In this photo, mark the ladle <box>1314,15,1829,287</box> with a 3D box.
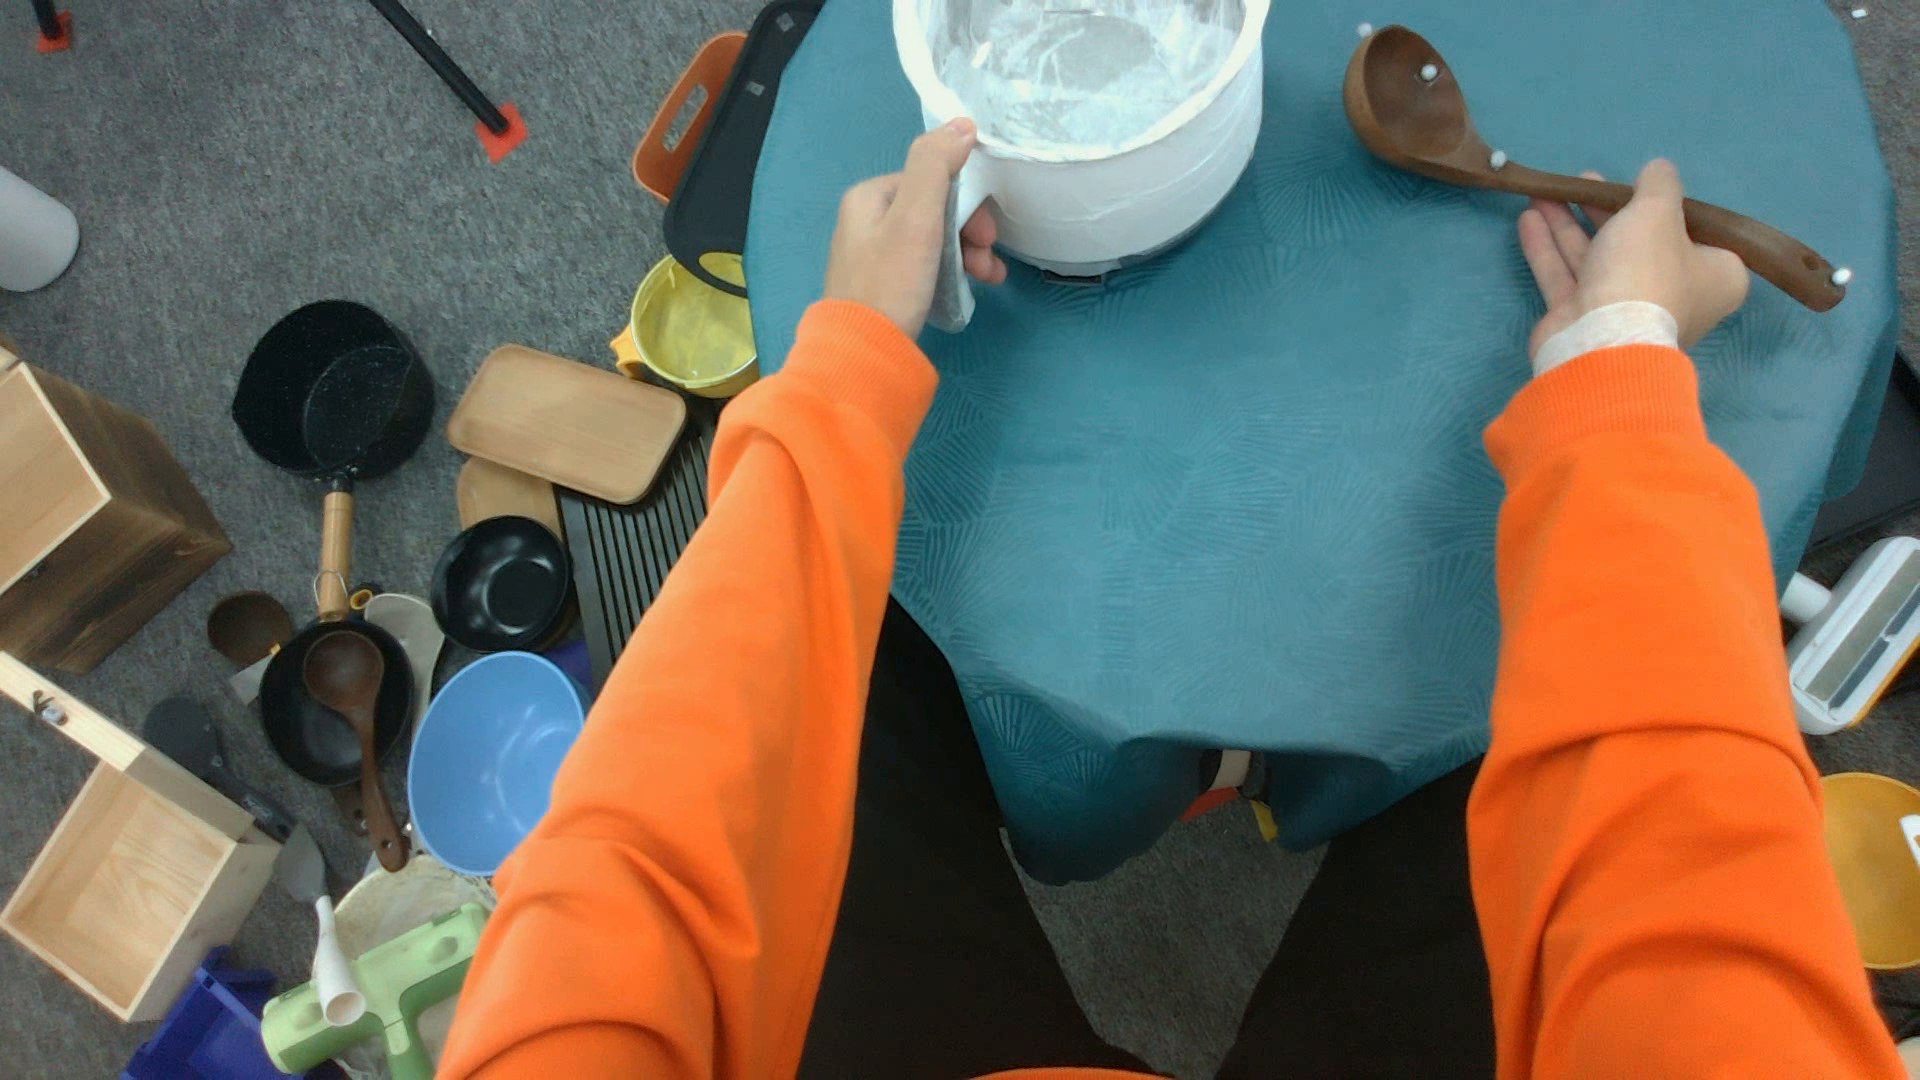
[{"bbox_3d":[0.297,-0.193,0.679,0.260,0.065,0.077,28,66,26],"label":"ladle"}]

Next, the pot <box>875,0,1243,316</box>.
[{"bbox_3d":[0.039,-0.225,0.703,0.179,0.136,0.234,35,82,17],"label":"pot"}]
